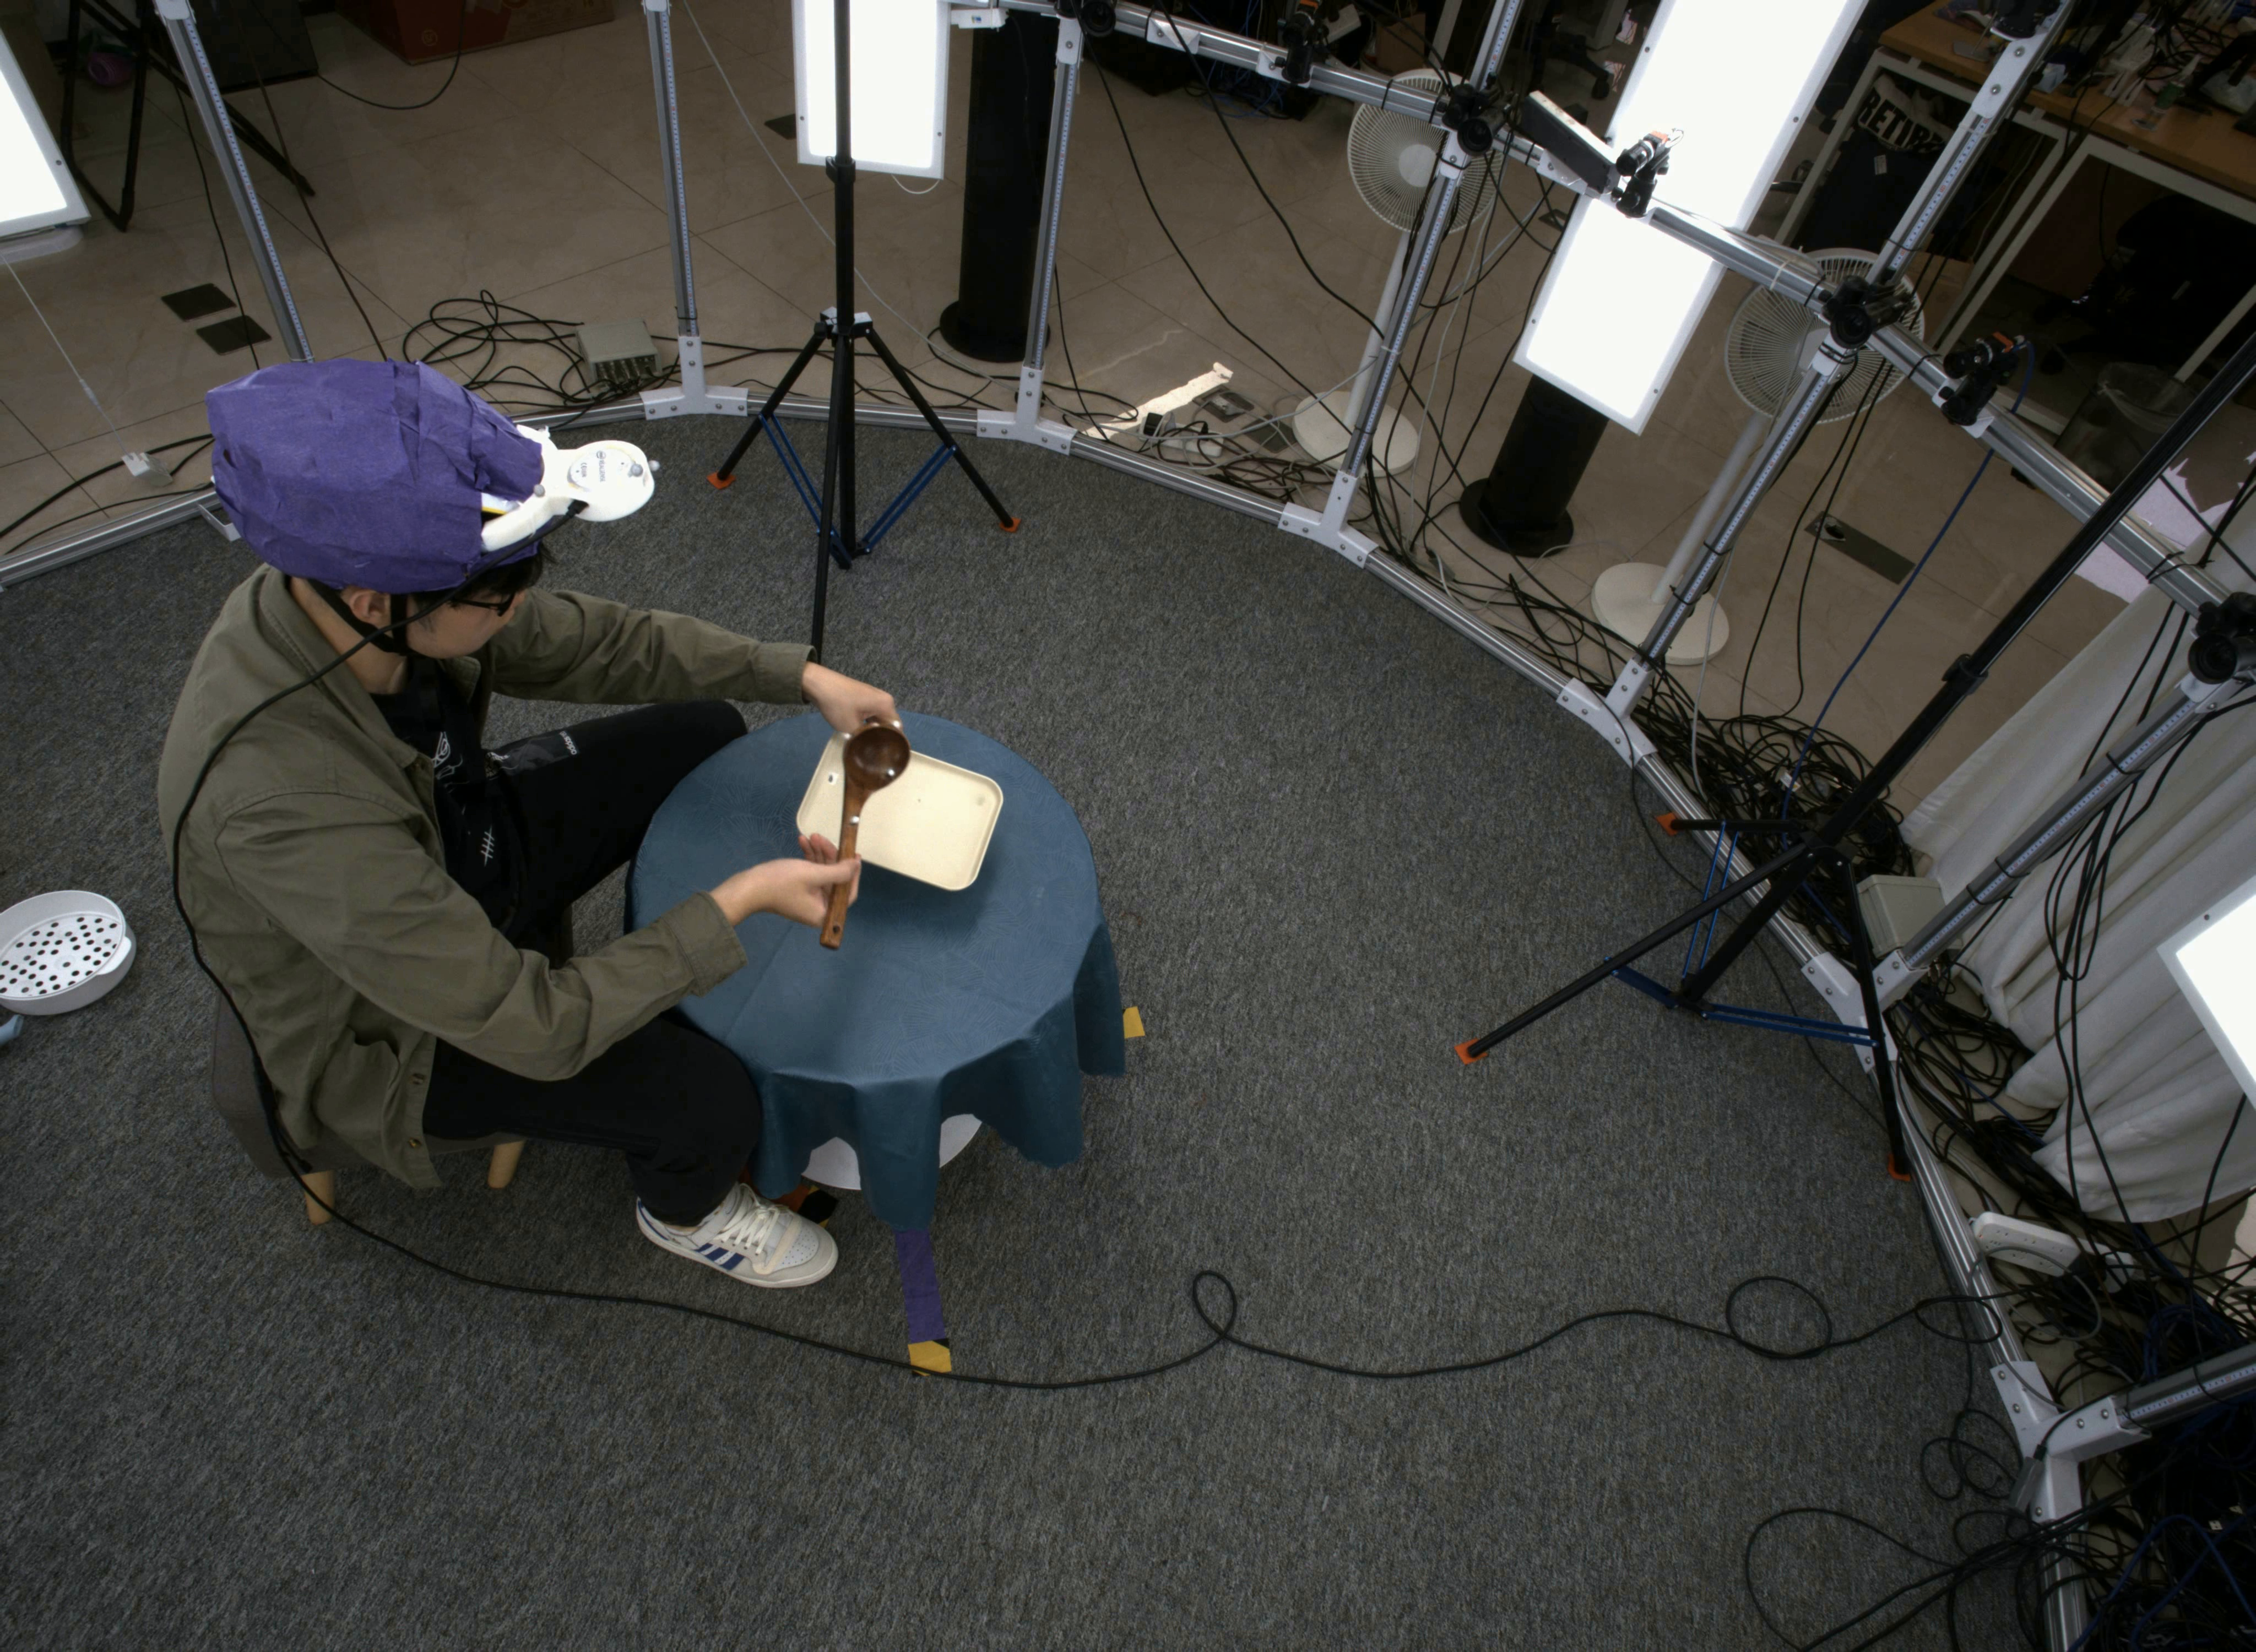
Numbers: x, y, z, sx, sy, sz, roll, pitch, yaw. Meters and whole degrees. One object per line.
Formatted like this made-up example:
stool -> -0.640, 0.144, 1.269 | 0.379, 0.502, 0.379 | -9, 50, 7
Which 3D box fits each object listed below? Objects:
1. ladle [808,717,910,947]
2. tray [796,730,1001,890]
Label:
ladle -> -0.304, 0.002, 1.463 | 0.084, 0.075, 0.270 | 29, 50, -34
tray -> -0.293, -0.021, 1.678 | 0.240, 0.017, 0.170 | 20, 63, -8
